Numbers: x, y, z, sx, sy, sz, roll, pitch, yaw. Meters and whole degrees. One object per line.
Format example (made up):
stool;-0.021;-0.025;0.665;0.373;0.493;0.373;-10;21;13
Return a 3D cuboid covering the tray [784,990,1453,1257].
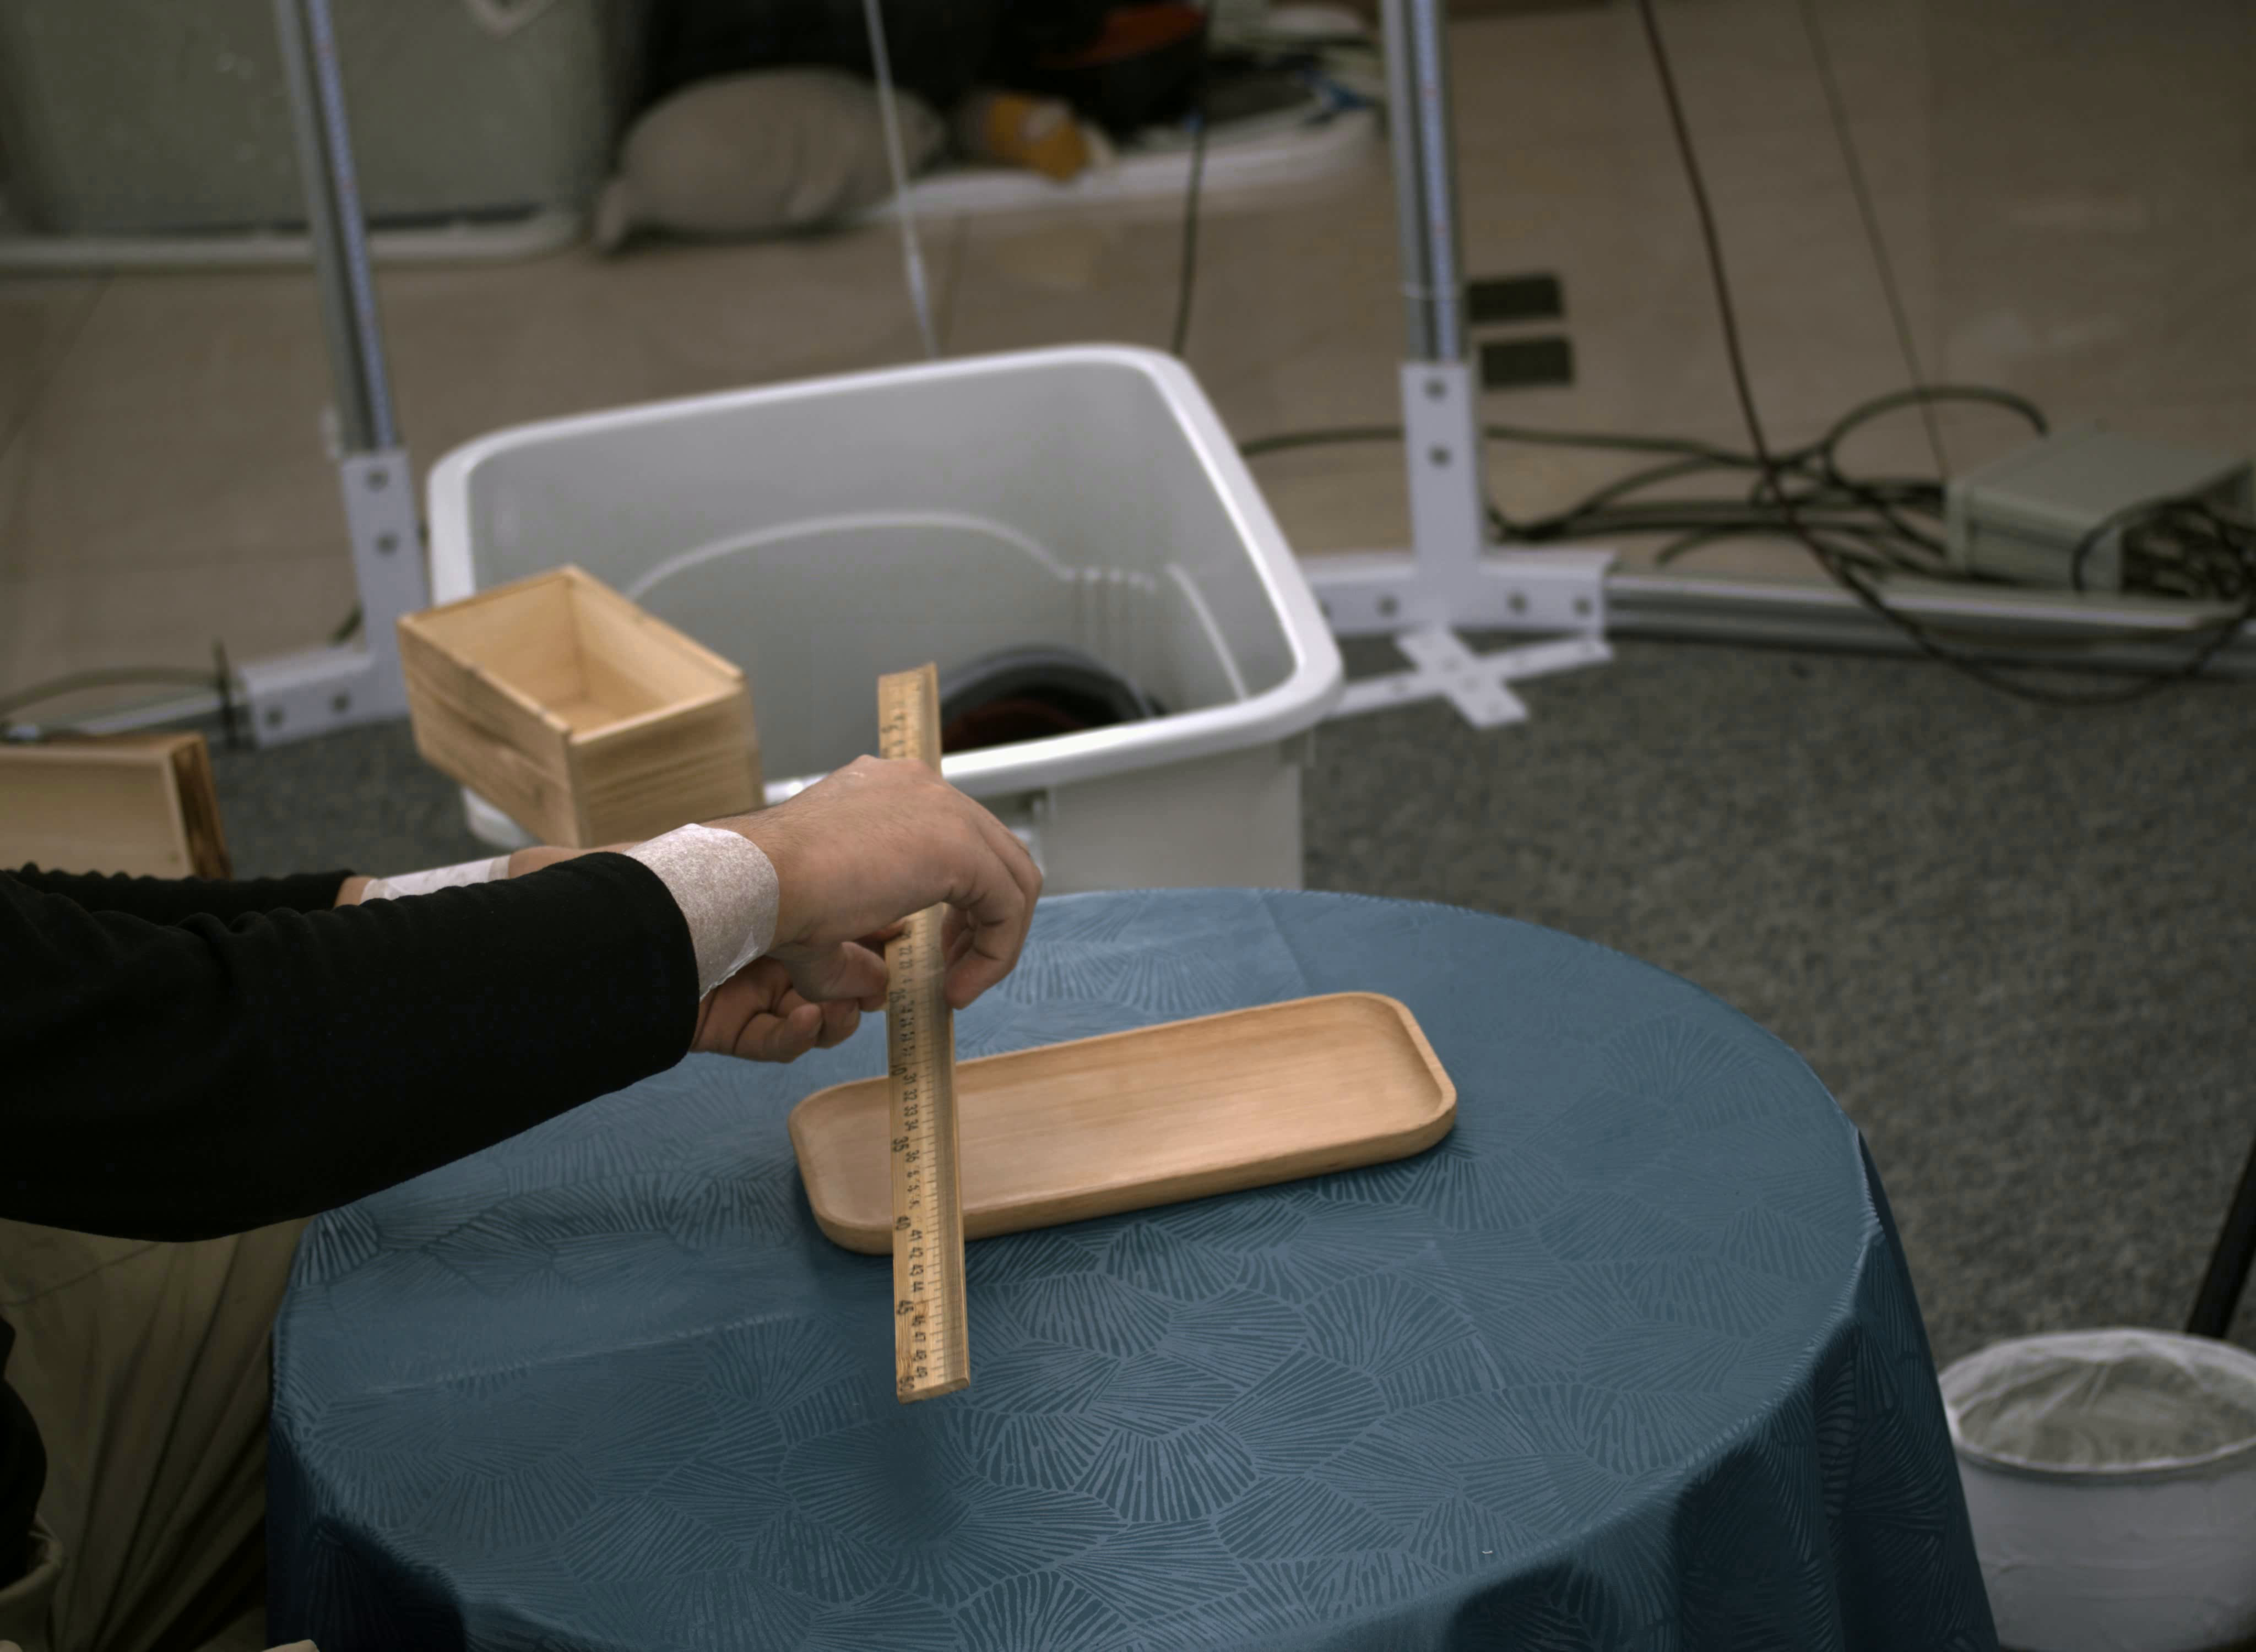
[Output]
tray;-0.004;0.114;2.183;0.250;0.023;0.129;-11;23;-6

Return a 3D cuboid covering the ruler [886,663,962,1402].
ruler;-0.076;0.063;2.089;0.027;0.006;0.492;-19;29;9
